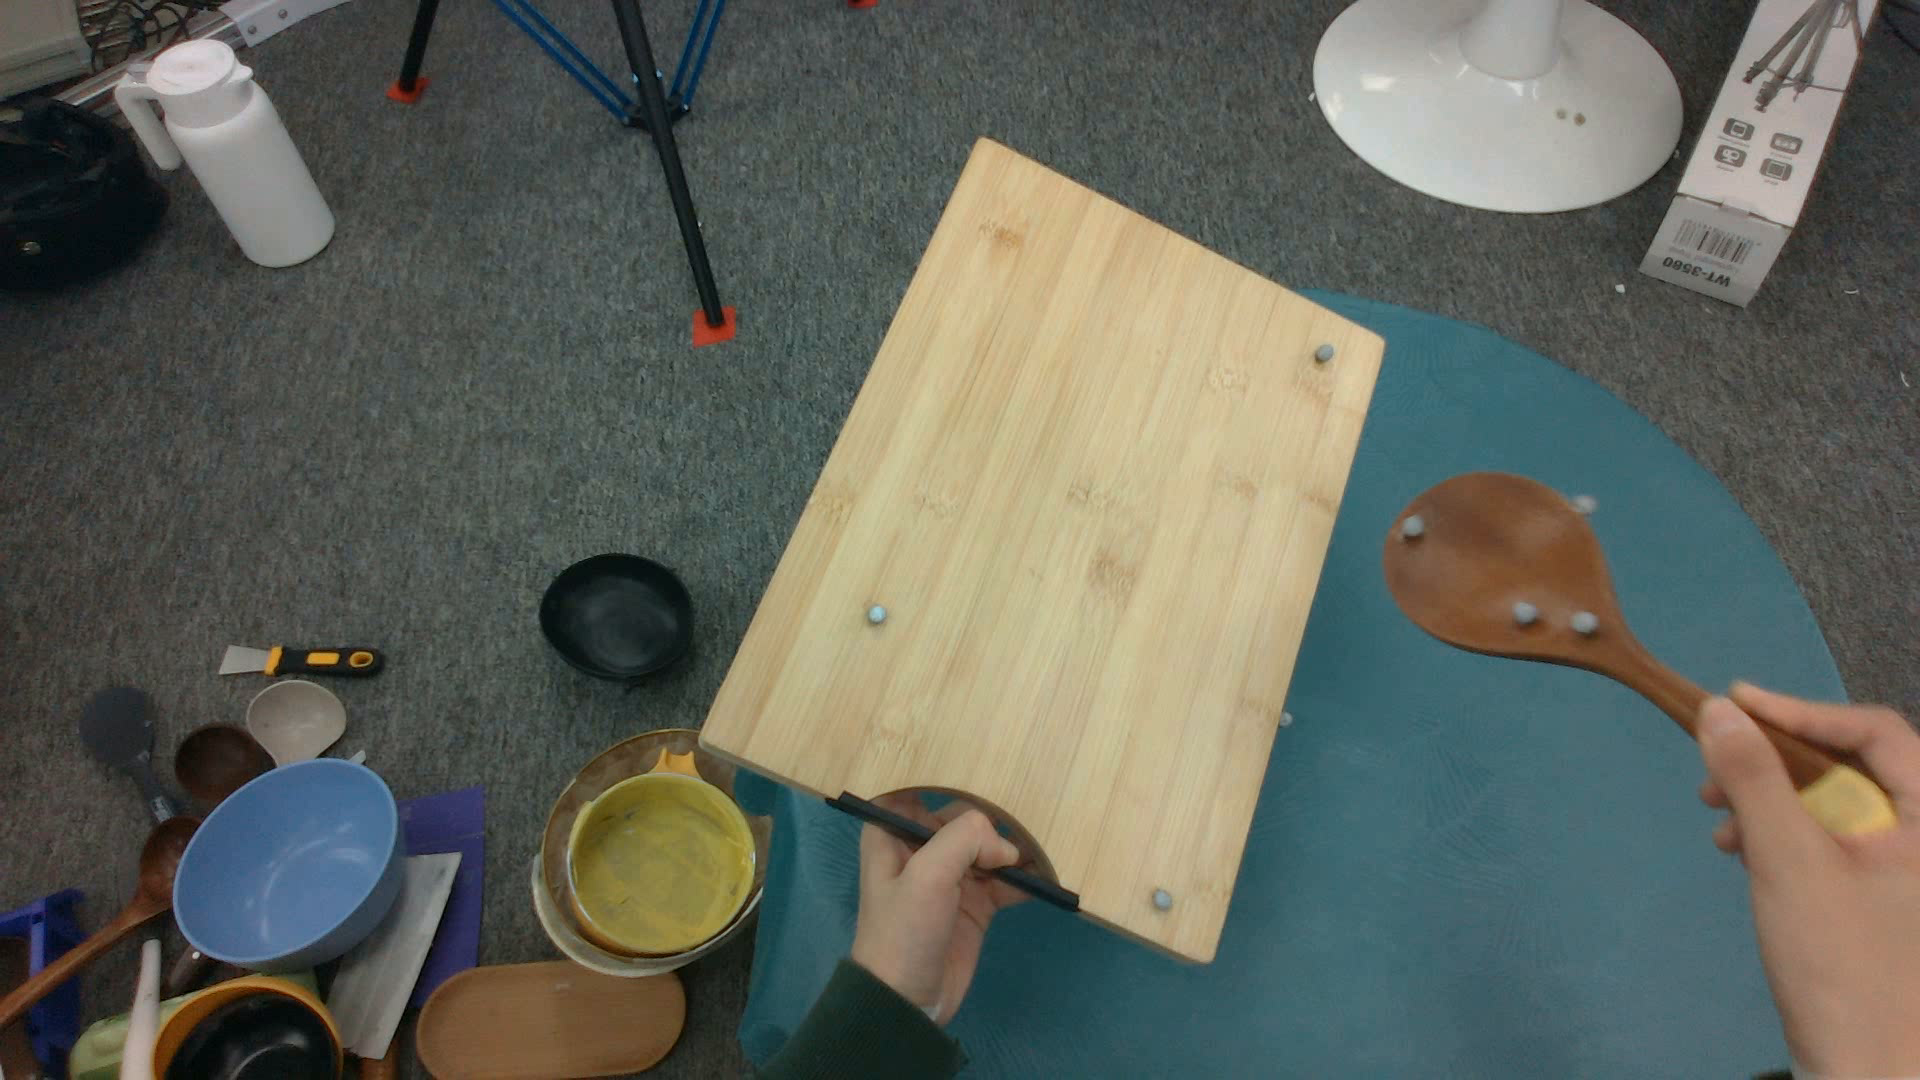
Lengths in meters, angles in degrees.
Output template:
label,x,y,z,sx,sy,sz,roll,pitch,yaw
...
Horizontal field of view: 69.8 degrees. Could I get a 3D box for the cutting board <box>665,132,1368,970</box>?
label,x,y,z,sx,sy,sz,roll,pitch,yaw
cutting board,0.048,-0.009,0.652,0.251,0.023,0.350,24,65,-7

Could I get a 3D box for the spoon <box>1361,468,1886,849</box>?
label,x,y,z,sx,sy,sz,roll,pitch,yaw
spoon,0.230,0.037,0.499,0.075,0.017,0.216,-42,39,0
